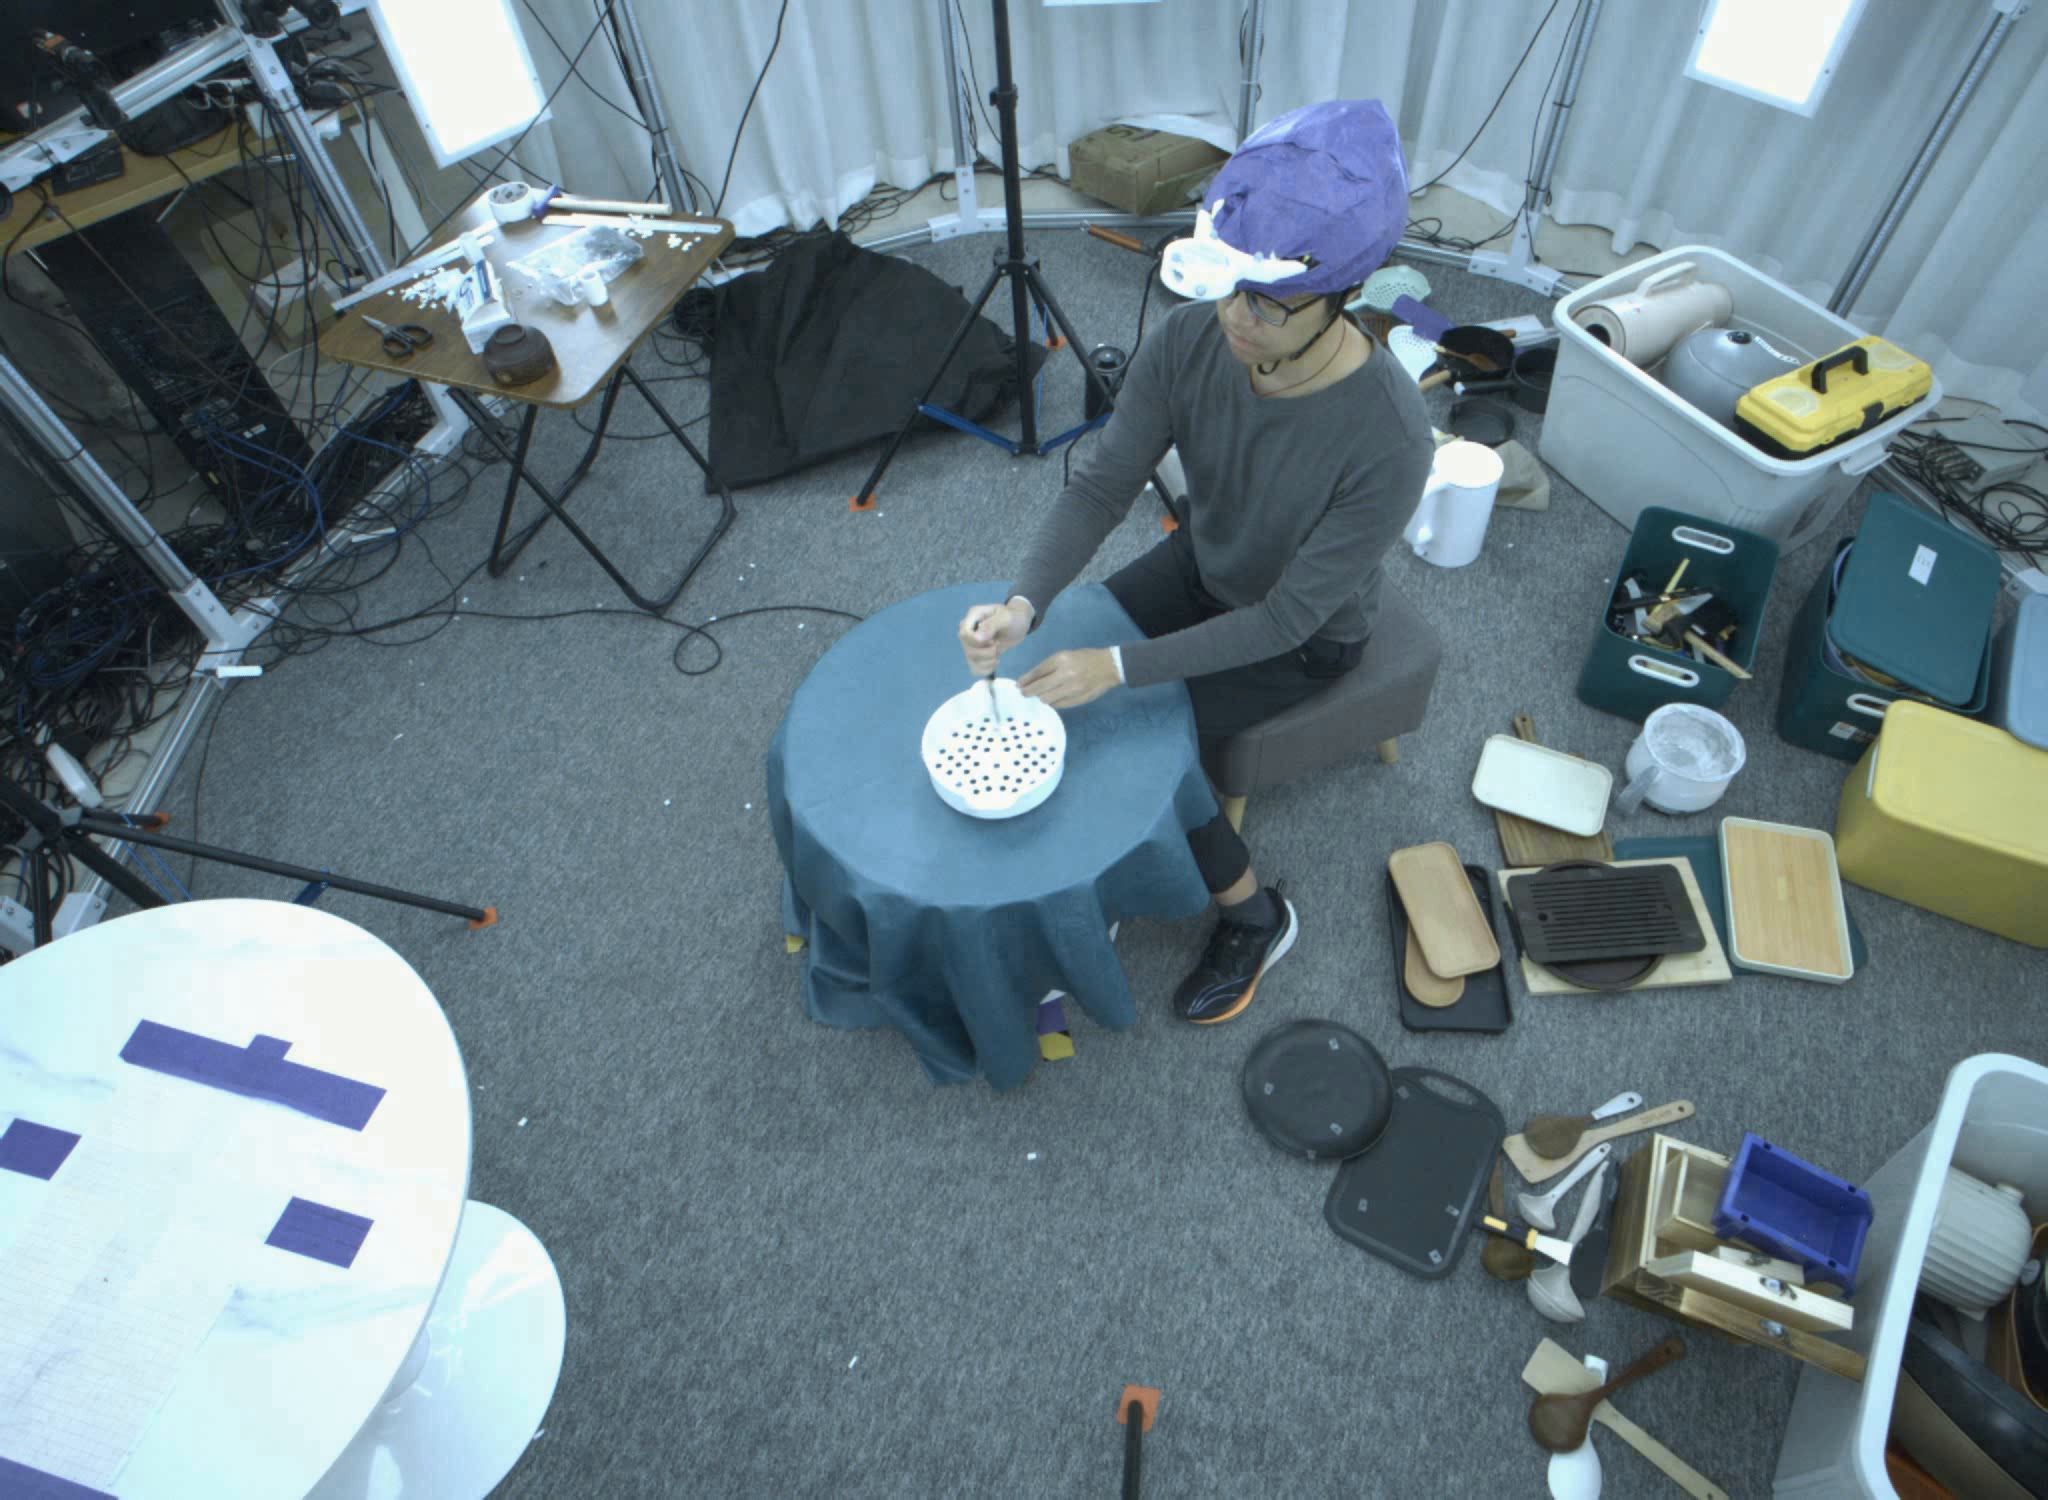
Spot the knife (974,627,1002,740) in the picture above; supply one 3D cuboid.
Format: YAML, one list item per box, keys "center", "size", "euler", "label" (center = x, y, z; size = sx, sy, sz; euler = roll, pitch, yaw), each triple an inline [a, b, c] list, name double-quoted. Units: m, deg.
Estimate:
- center: [-0.045, -0.088, 1.687]
  size: [0.016, 0.241, 0.024]
  euler: [7, 55, 13]
  label: "knife"

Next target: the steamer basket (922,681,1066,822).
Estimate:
- center: [-0.041, 0.007, 1.749]
  size: [0.202, 0.070, 0.228]
  euler: [0, 54, 1]
  label: "steamer basket"
